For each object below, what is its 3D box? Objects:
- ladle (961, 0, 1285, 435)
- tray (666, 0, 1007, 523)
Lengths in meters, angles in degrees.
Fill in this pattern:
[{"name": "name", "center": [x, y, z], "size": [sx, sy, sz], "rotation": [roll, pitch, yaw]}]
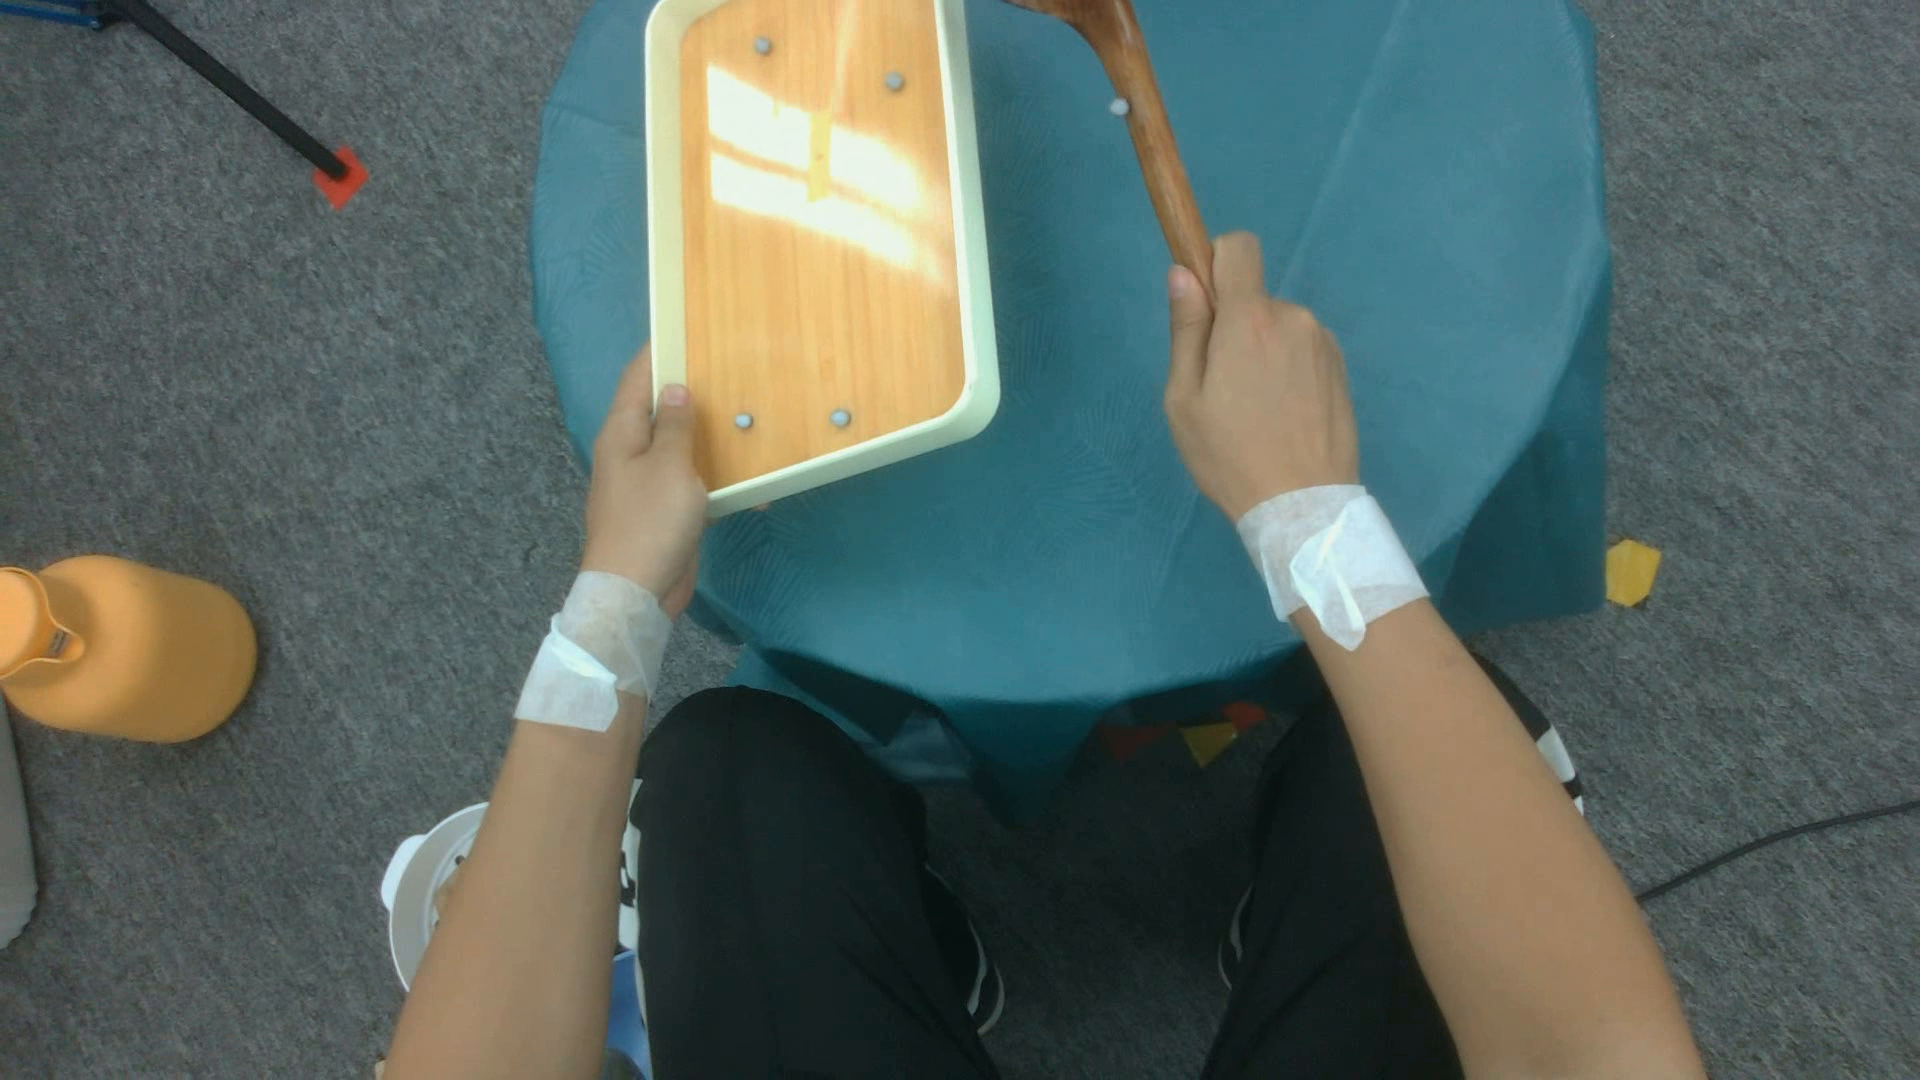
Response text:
[{"name": "ladle", "center": [0.068, -0.165, 0.634], "size": [0.077, 0.082, 0.274], "rotation": [-23, 94, -13]}, {"name": "tray", "center": [-0.072, -0.170, 0.699], "size": [0.191, 0.027, 0.301], "rotation": [-15, 69, 31]}]
